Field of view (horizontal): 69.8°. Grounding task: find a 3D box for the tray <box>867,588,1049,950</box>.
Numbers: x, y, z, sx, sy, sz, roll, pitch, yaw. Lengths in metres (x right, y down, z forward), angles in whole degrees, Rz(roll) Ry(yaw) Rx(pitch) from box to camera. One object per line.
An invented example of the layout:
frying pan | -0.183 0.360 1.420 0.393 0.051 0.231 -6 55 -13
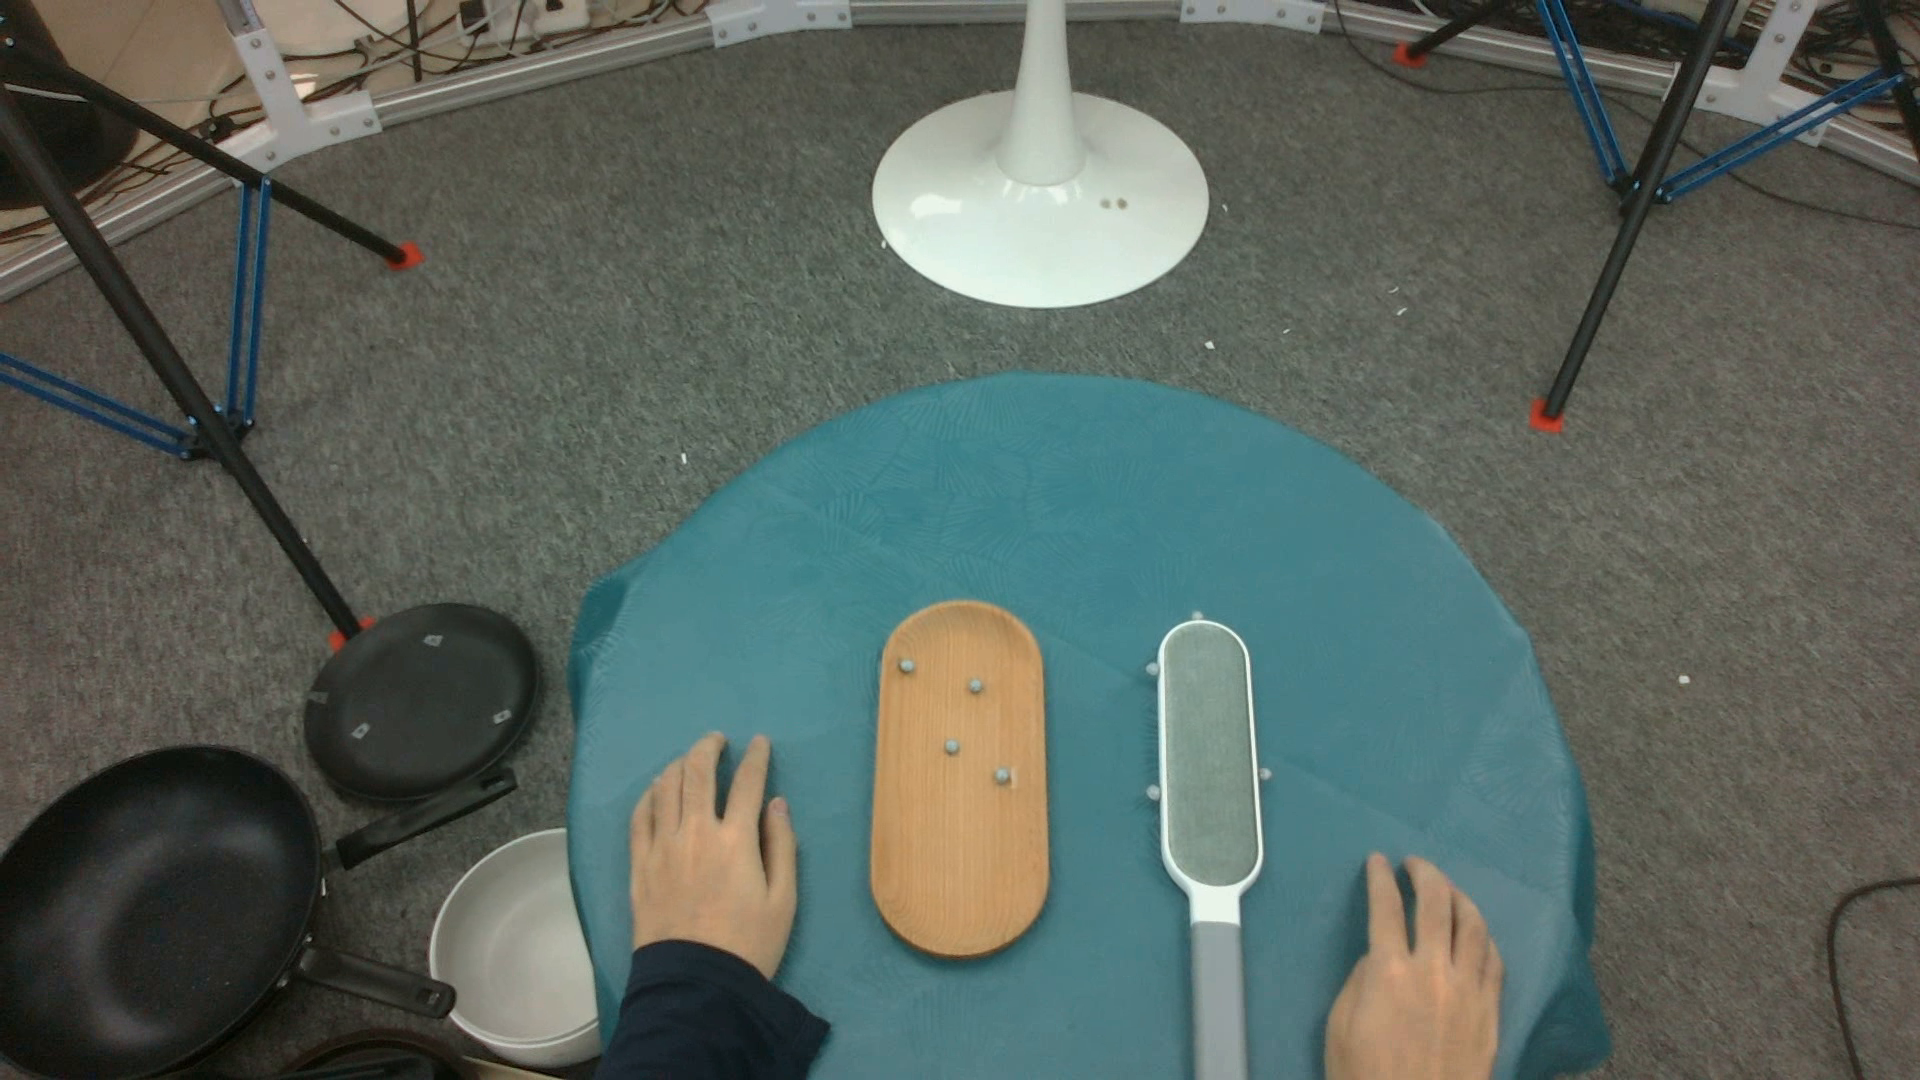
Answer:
tray | -0.003 0.127 0.809 0.101 0.020 0.232 -3 54 1

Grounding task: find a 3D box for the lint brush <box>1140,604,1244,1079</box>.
lint brush | 0.130 0.165 0.777 0.060 0.021 0.310 7 53 -2
